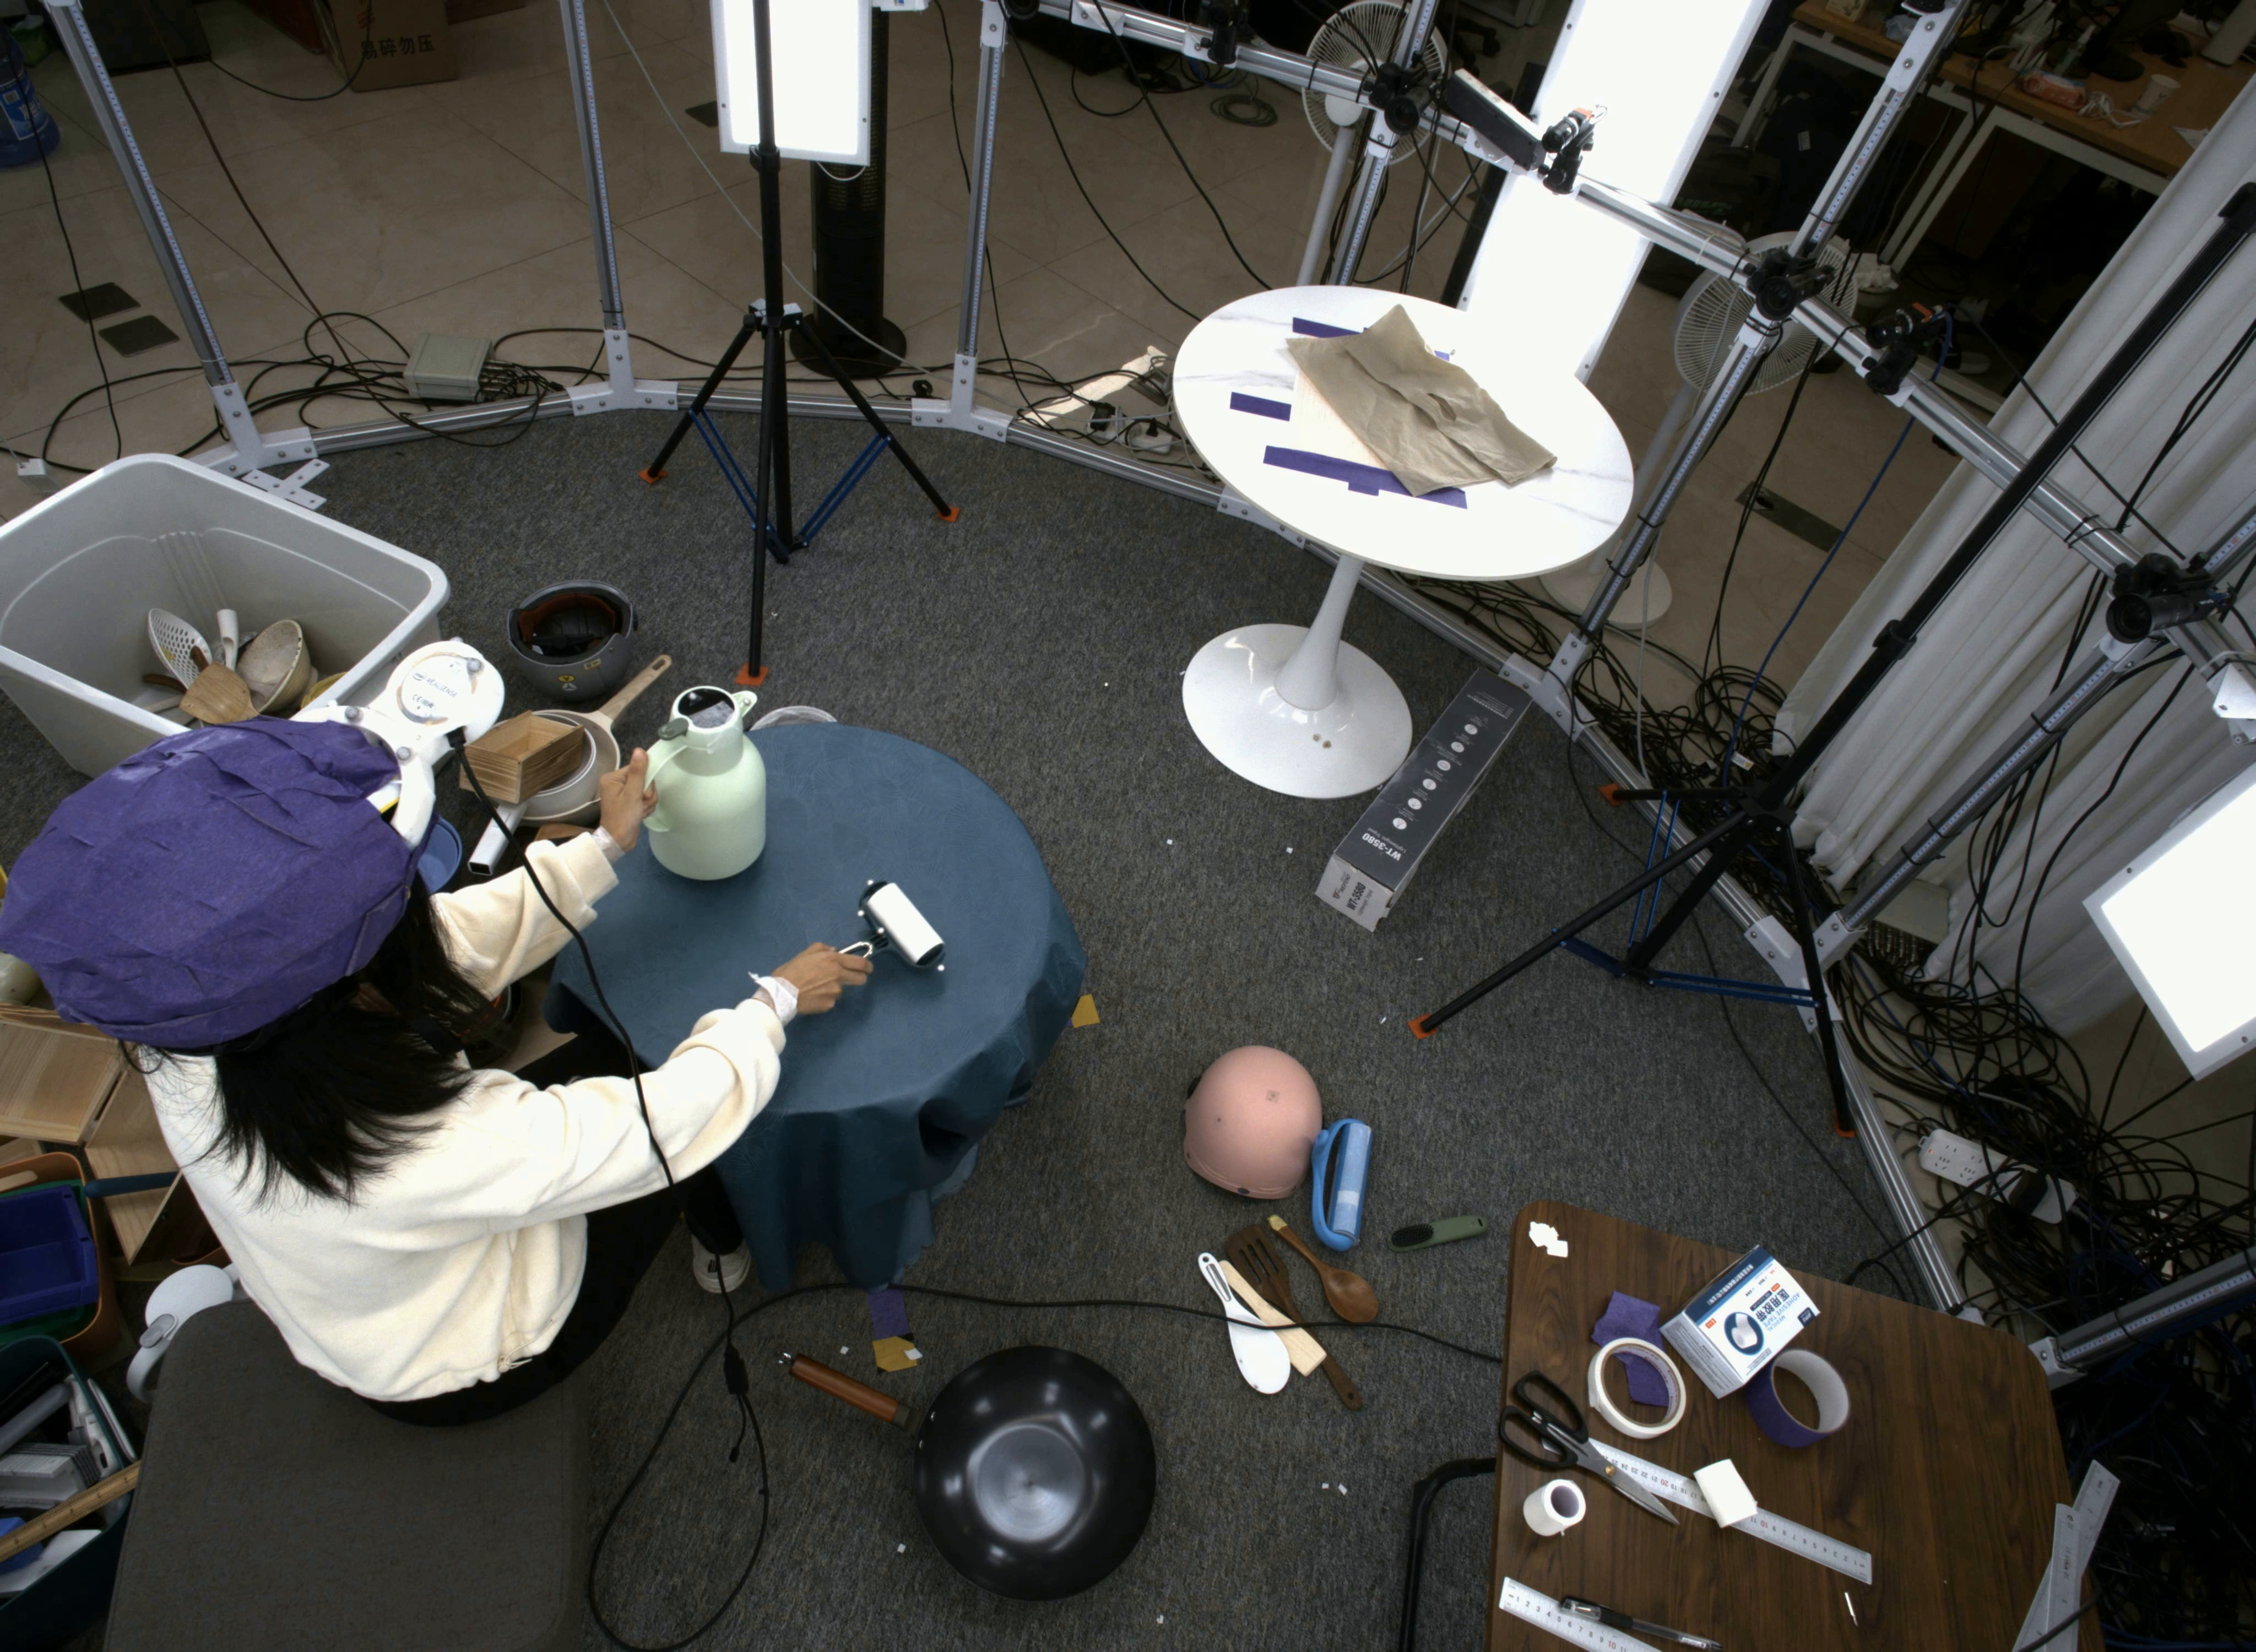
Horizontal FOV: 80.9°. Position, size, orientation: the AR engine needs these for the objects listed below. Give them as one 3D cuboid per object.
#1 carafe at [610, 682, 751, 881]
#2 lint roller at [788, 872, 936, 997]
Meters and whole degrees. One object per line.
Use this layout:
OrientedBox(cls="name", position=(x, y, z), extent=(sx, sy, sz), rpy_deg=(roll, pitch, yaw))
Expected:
OrientedBox(cls="carafe", position=(-0.538, -0.052, 1.545), extent=(0.142, 0.261, 0.187), rpy_deg=(37, 54, 13))
OrientedBox(cls="lint roller", position=(-0.330, 0.144, 1.556), extent=(0.133, 0.048, 0.181), rpy_deg=(48, 46, 10))
